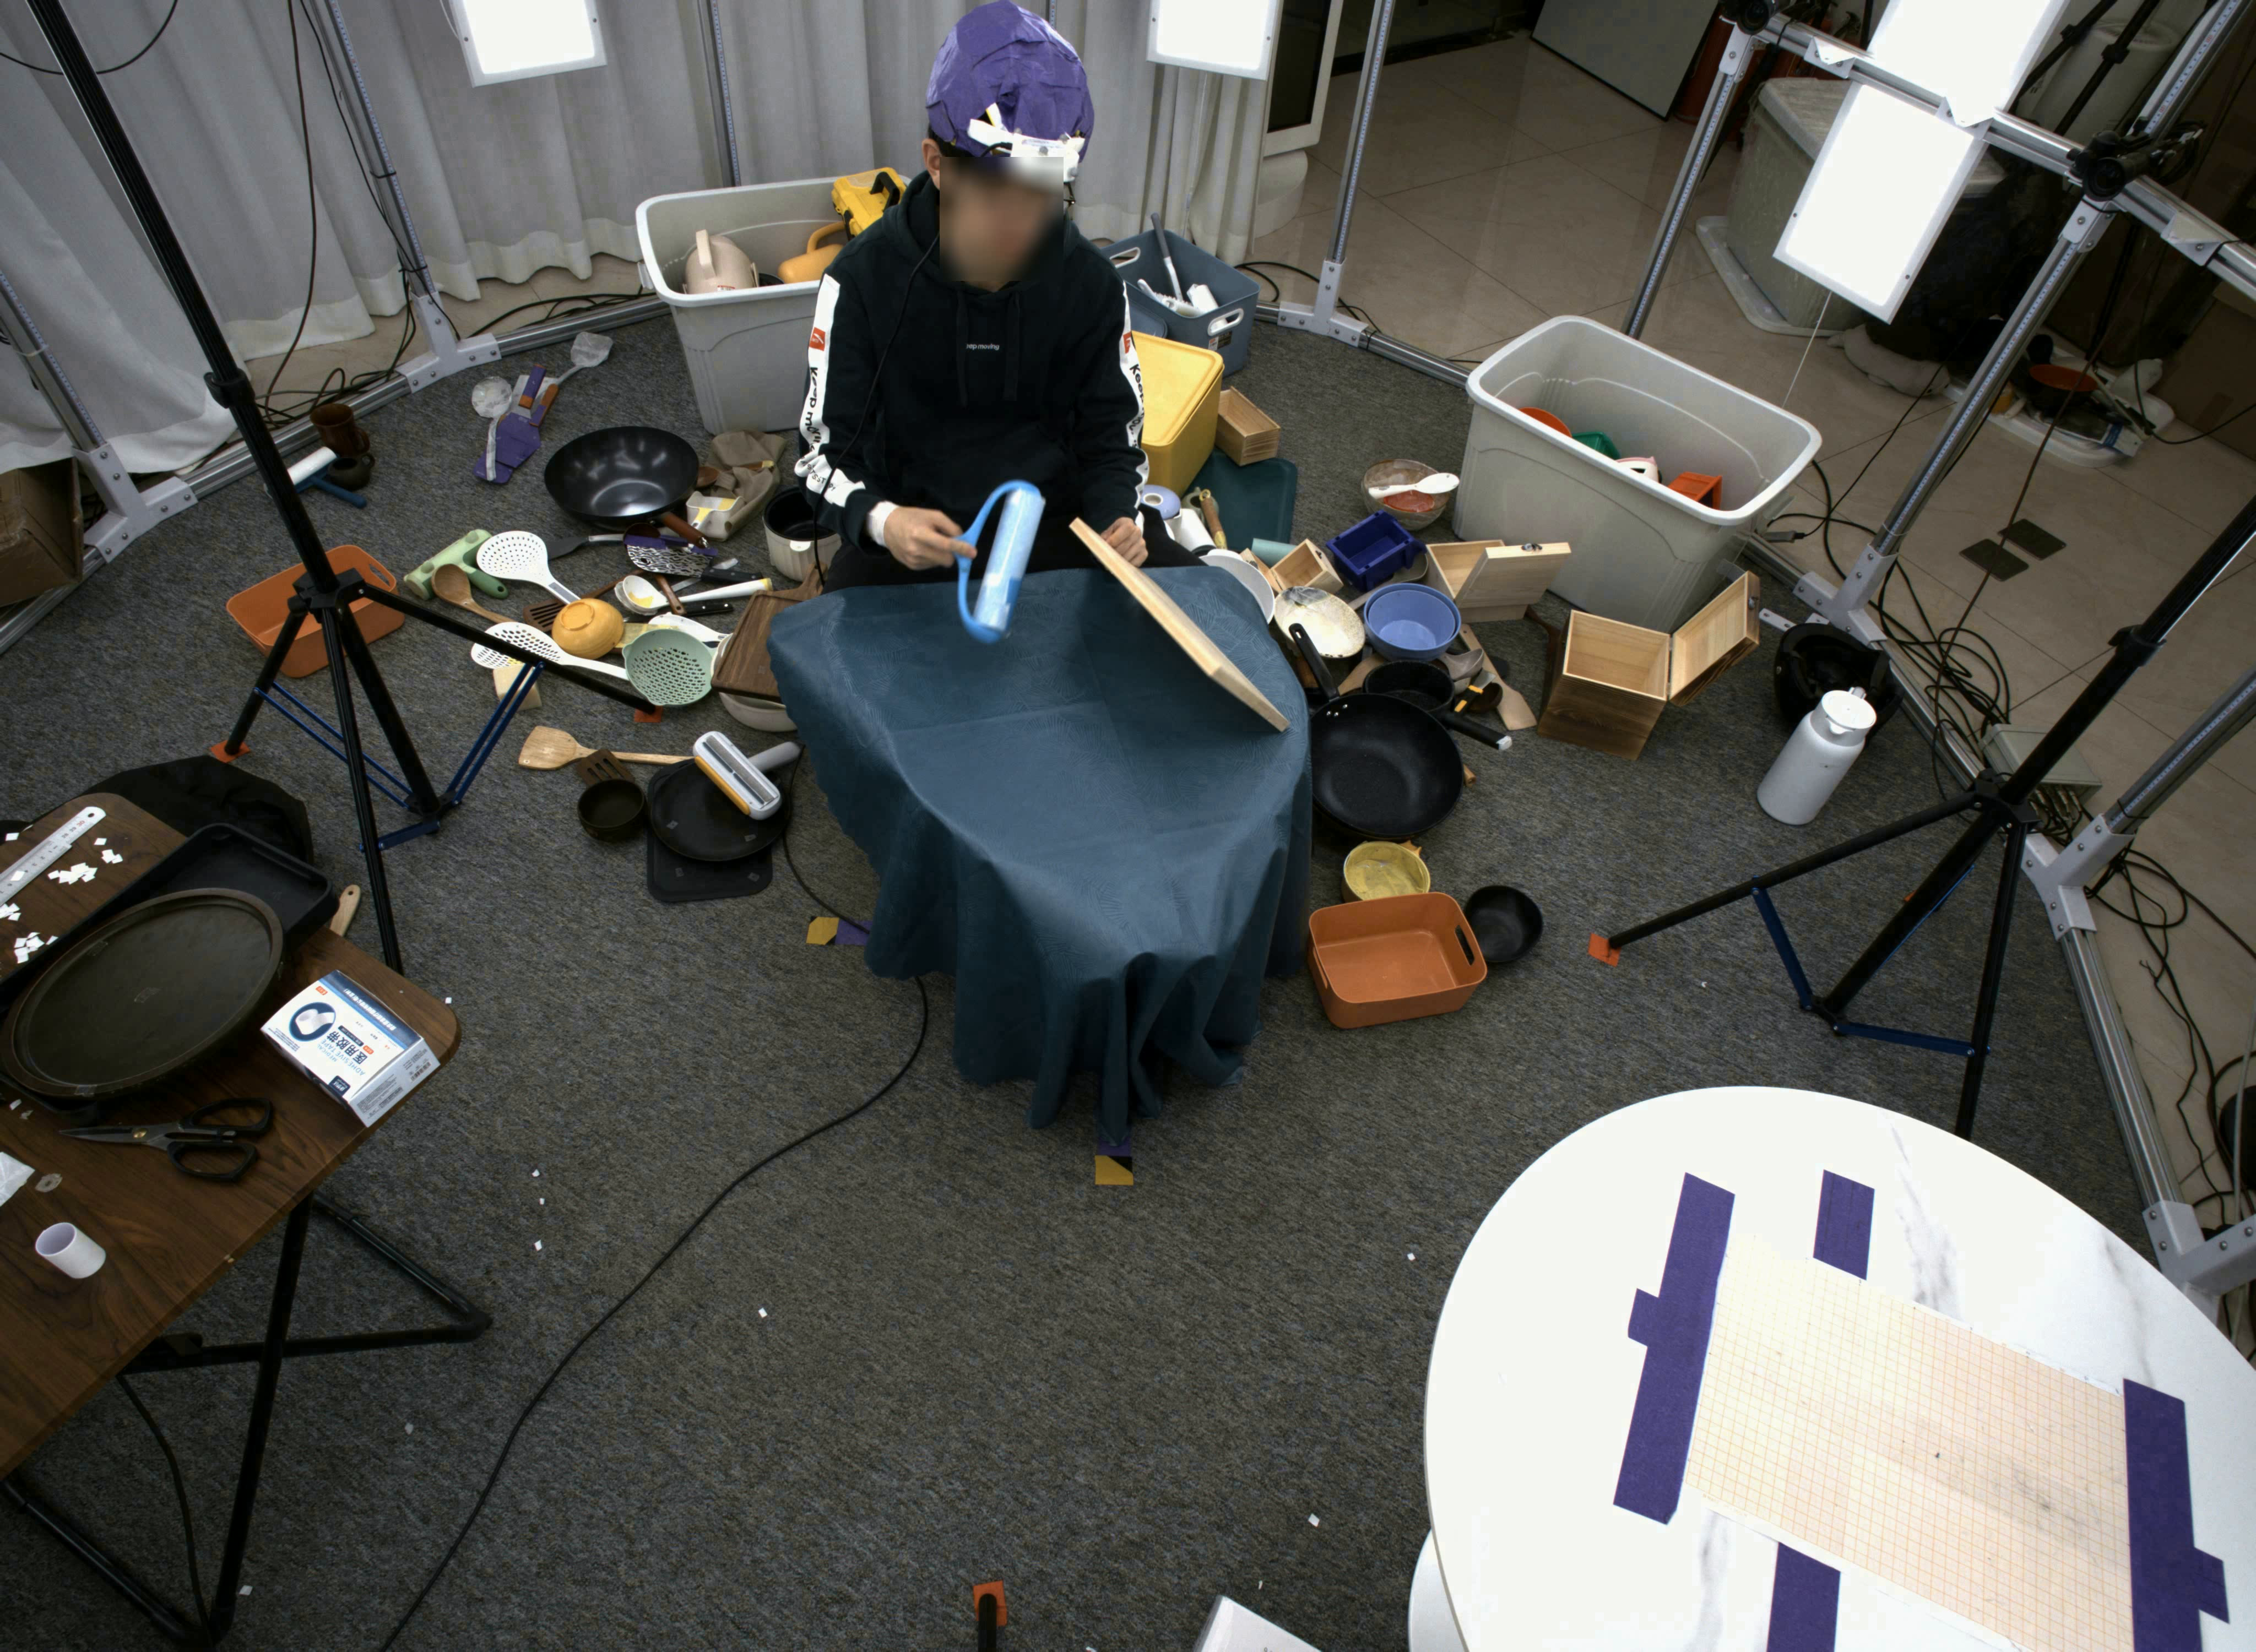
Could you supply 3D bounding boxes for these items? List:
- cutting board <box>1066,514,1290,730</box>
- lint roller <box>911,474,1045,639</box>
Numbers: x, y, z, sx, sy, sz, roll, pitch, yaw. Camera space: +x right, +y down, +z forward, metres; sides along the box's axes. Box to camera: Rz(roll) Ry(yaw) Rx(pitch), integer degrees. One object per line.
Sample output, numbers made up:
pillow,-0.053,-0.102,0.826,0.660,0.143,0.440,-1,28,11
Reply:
cutting board,0.070,-0.283,1.789,0.023,0.247,0.355,-46,59,10
lint roller,-0.220,-0.381,1.782,0.180,0.067,0.229,11,87,5
